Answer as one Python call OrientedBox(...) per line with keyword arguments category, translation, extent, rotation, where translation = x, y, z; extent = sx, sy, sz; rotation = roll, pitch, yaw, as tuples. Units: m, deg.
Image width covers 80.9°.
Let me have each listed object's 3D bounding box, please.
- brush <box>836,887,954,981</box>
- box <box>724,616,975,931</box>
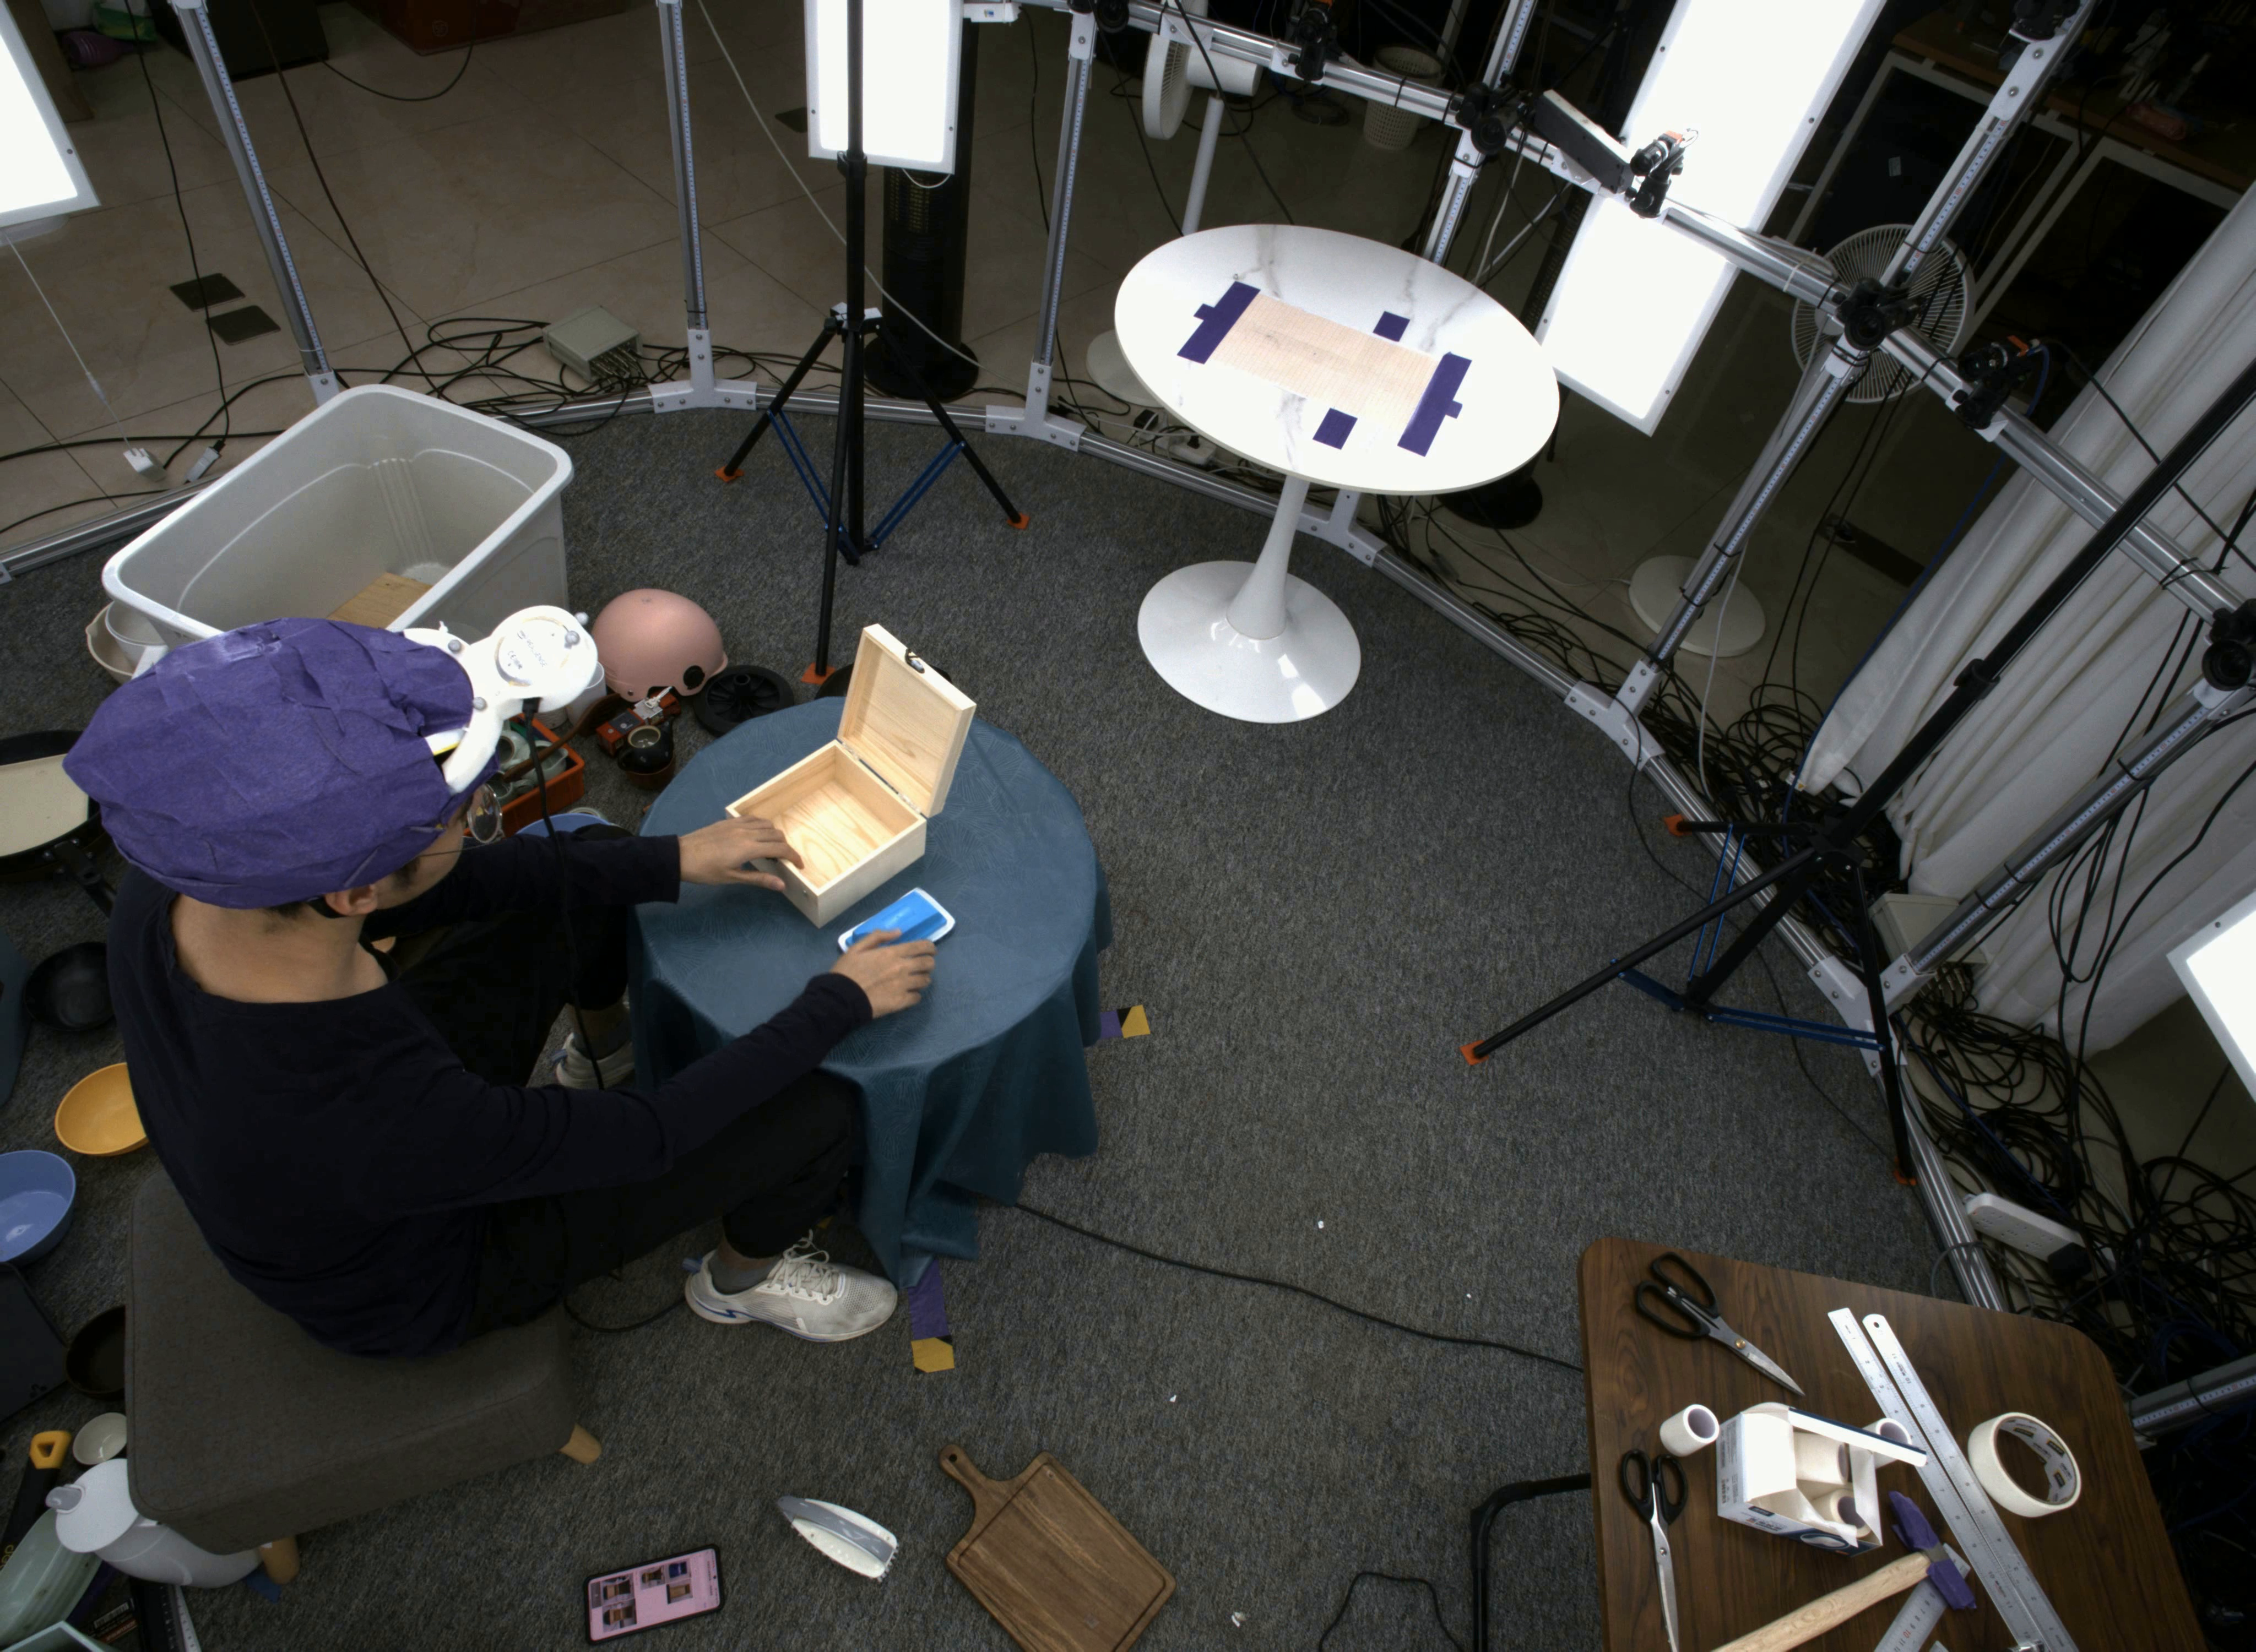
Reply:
OrientedBox(category="brush", translation=(-0.291, 0.126, 1.626), extent=(0.144, 0.057, 0.081), rotation=(-32, 63, -34))
OrientedBox(category="box", translation=(-0.354, -0.066, 1.627), extent=(0.178, 0.259, 0.265), rotation=(38, 55, 17))
